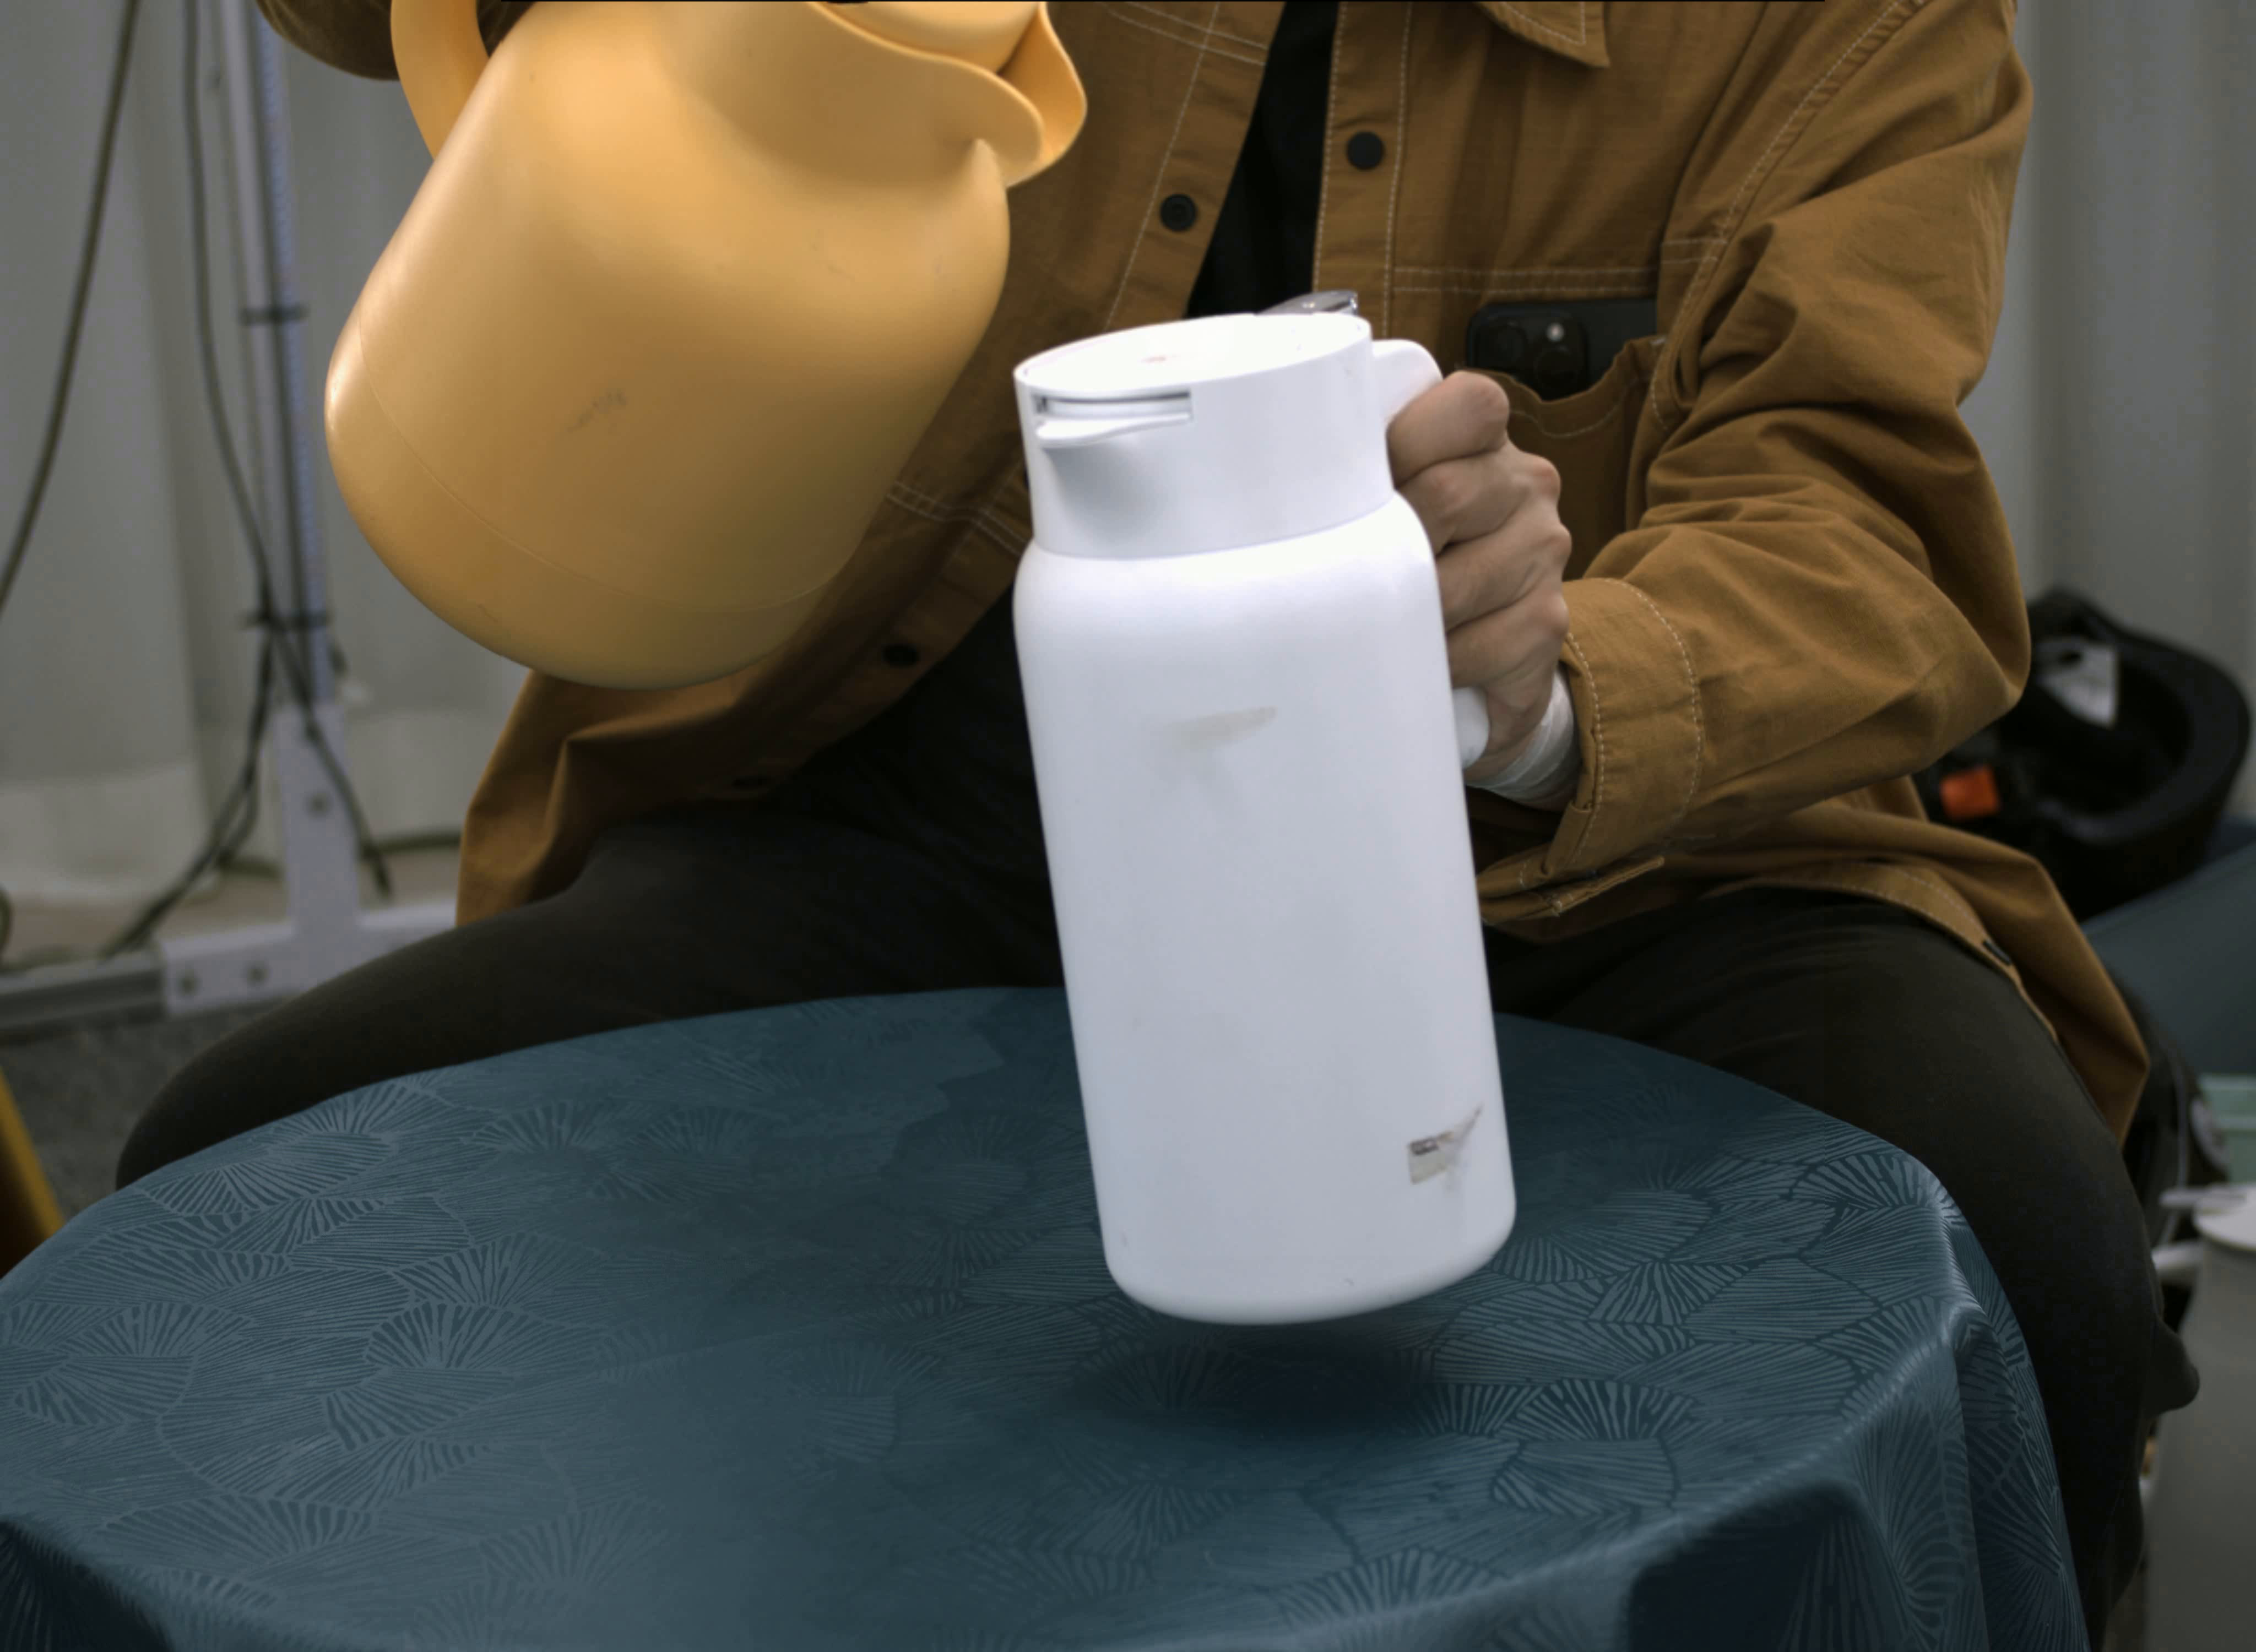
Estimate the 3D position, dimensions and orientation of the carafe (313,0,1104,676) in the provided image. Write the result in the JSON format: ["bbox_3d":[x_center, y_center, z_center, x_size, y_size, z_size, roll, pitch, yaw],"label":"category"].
[{"bbox_3d":[-0.129,-0.188,1.573,0.203,0.258,0.164,47,36,10],"label":"carafe"}]

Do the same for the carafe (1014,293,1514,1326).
[{"bbox_3d":[0.043,-0.009,1.525,0.124,0.268,0.173,-1,14,36],"label":"carafe"}]
